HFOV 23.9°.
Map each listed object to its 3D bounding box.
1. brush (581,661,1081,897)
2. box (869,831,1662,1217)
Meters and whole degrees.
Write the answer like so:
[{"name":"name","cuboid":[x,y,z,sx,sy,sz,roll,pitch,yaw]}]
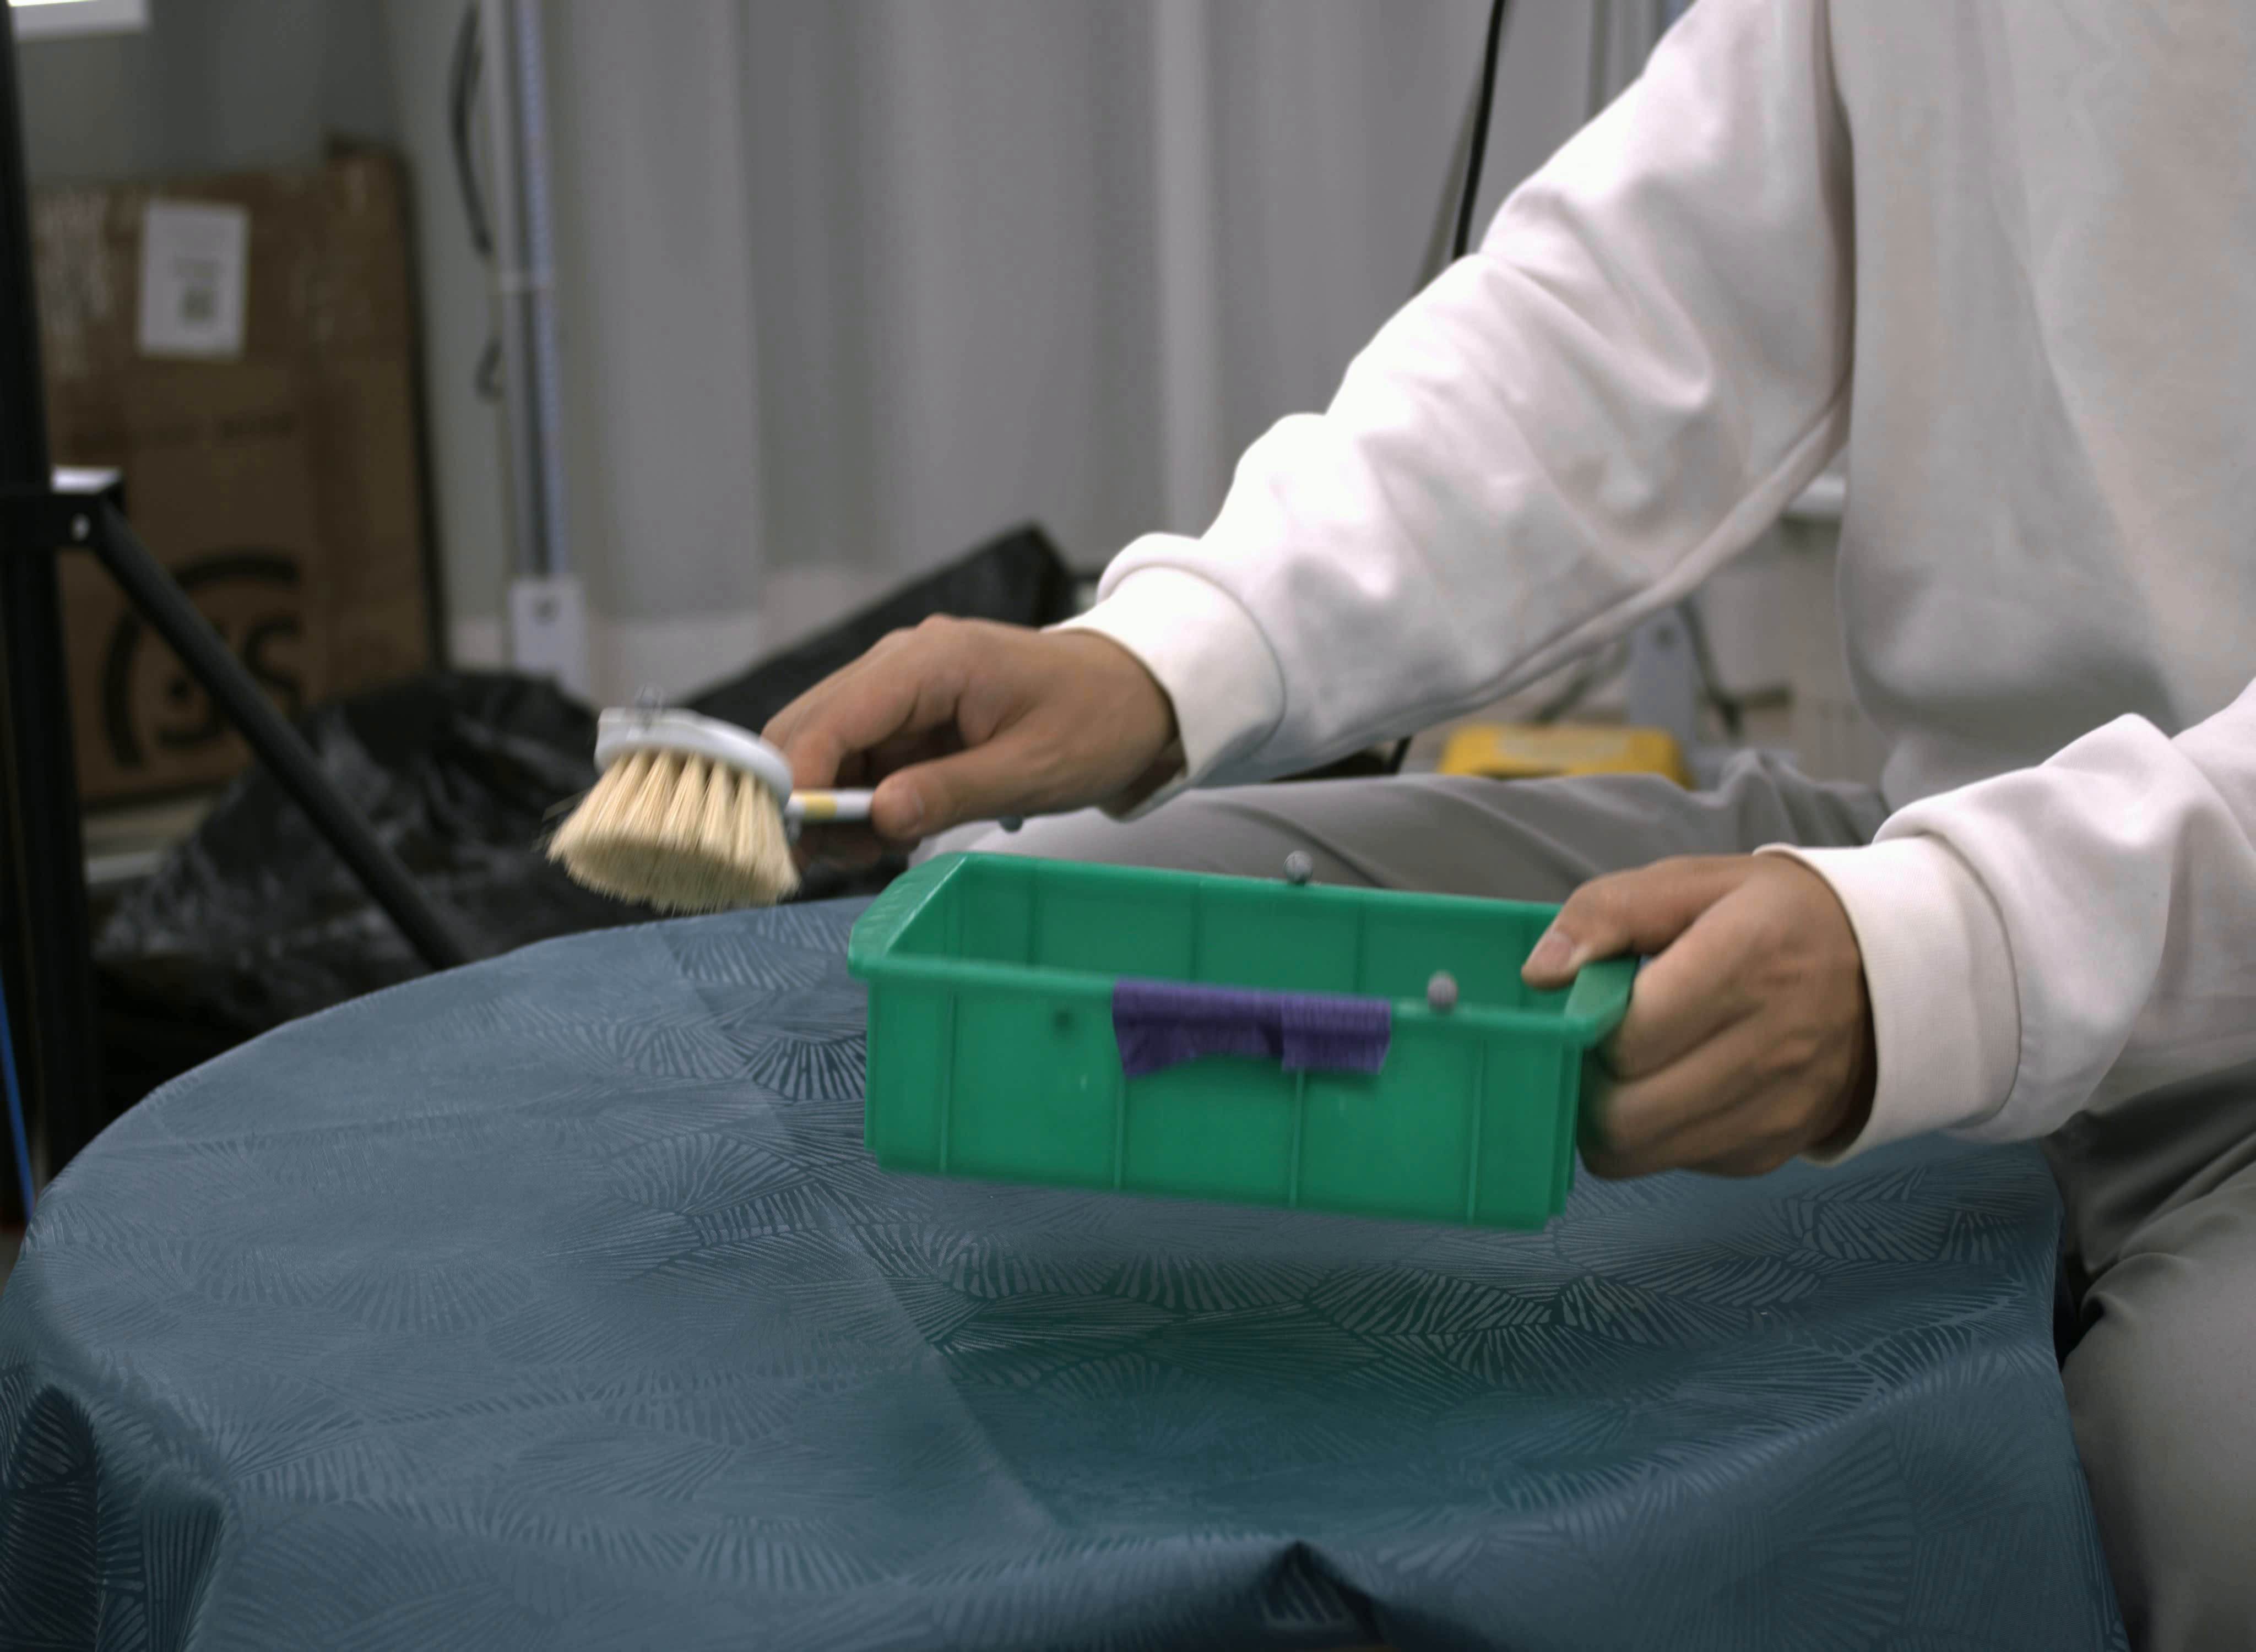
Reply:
[{"name":"brush","cuboid":[-0.083,0.005,1.661,0.070,0.056,0.261,16,-4,27]},{"name":"box","cuboid":[0.037,0.053,1.444,0.211,0.065,0.138,7,12,10]}]
